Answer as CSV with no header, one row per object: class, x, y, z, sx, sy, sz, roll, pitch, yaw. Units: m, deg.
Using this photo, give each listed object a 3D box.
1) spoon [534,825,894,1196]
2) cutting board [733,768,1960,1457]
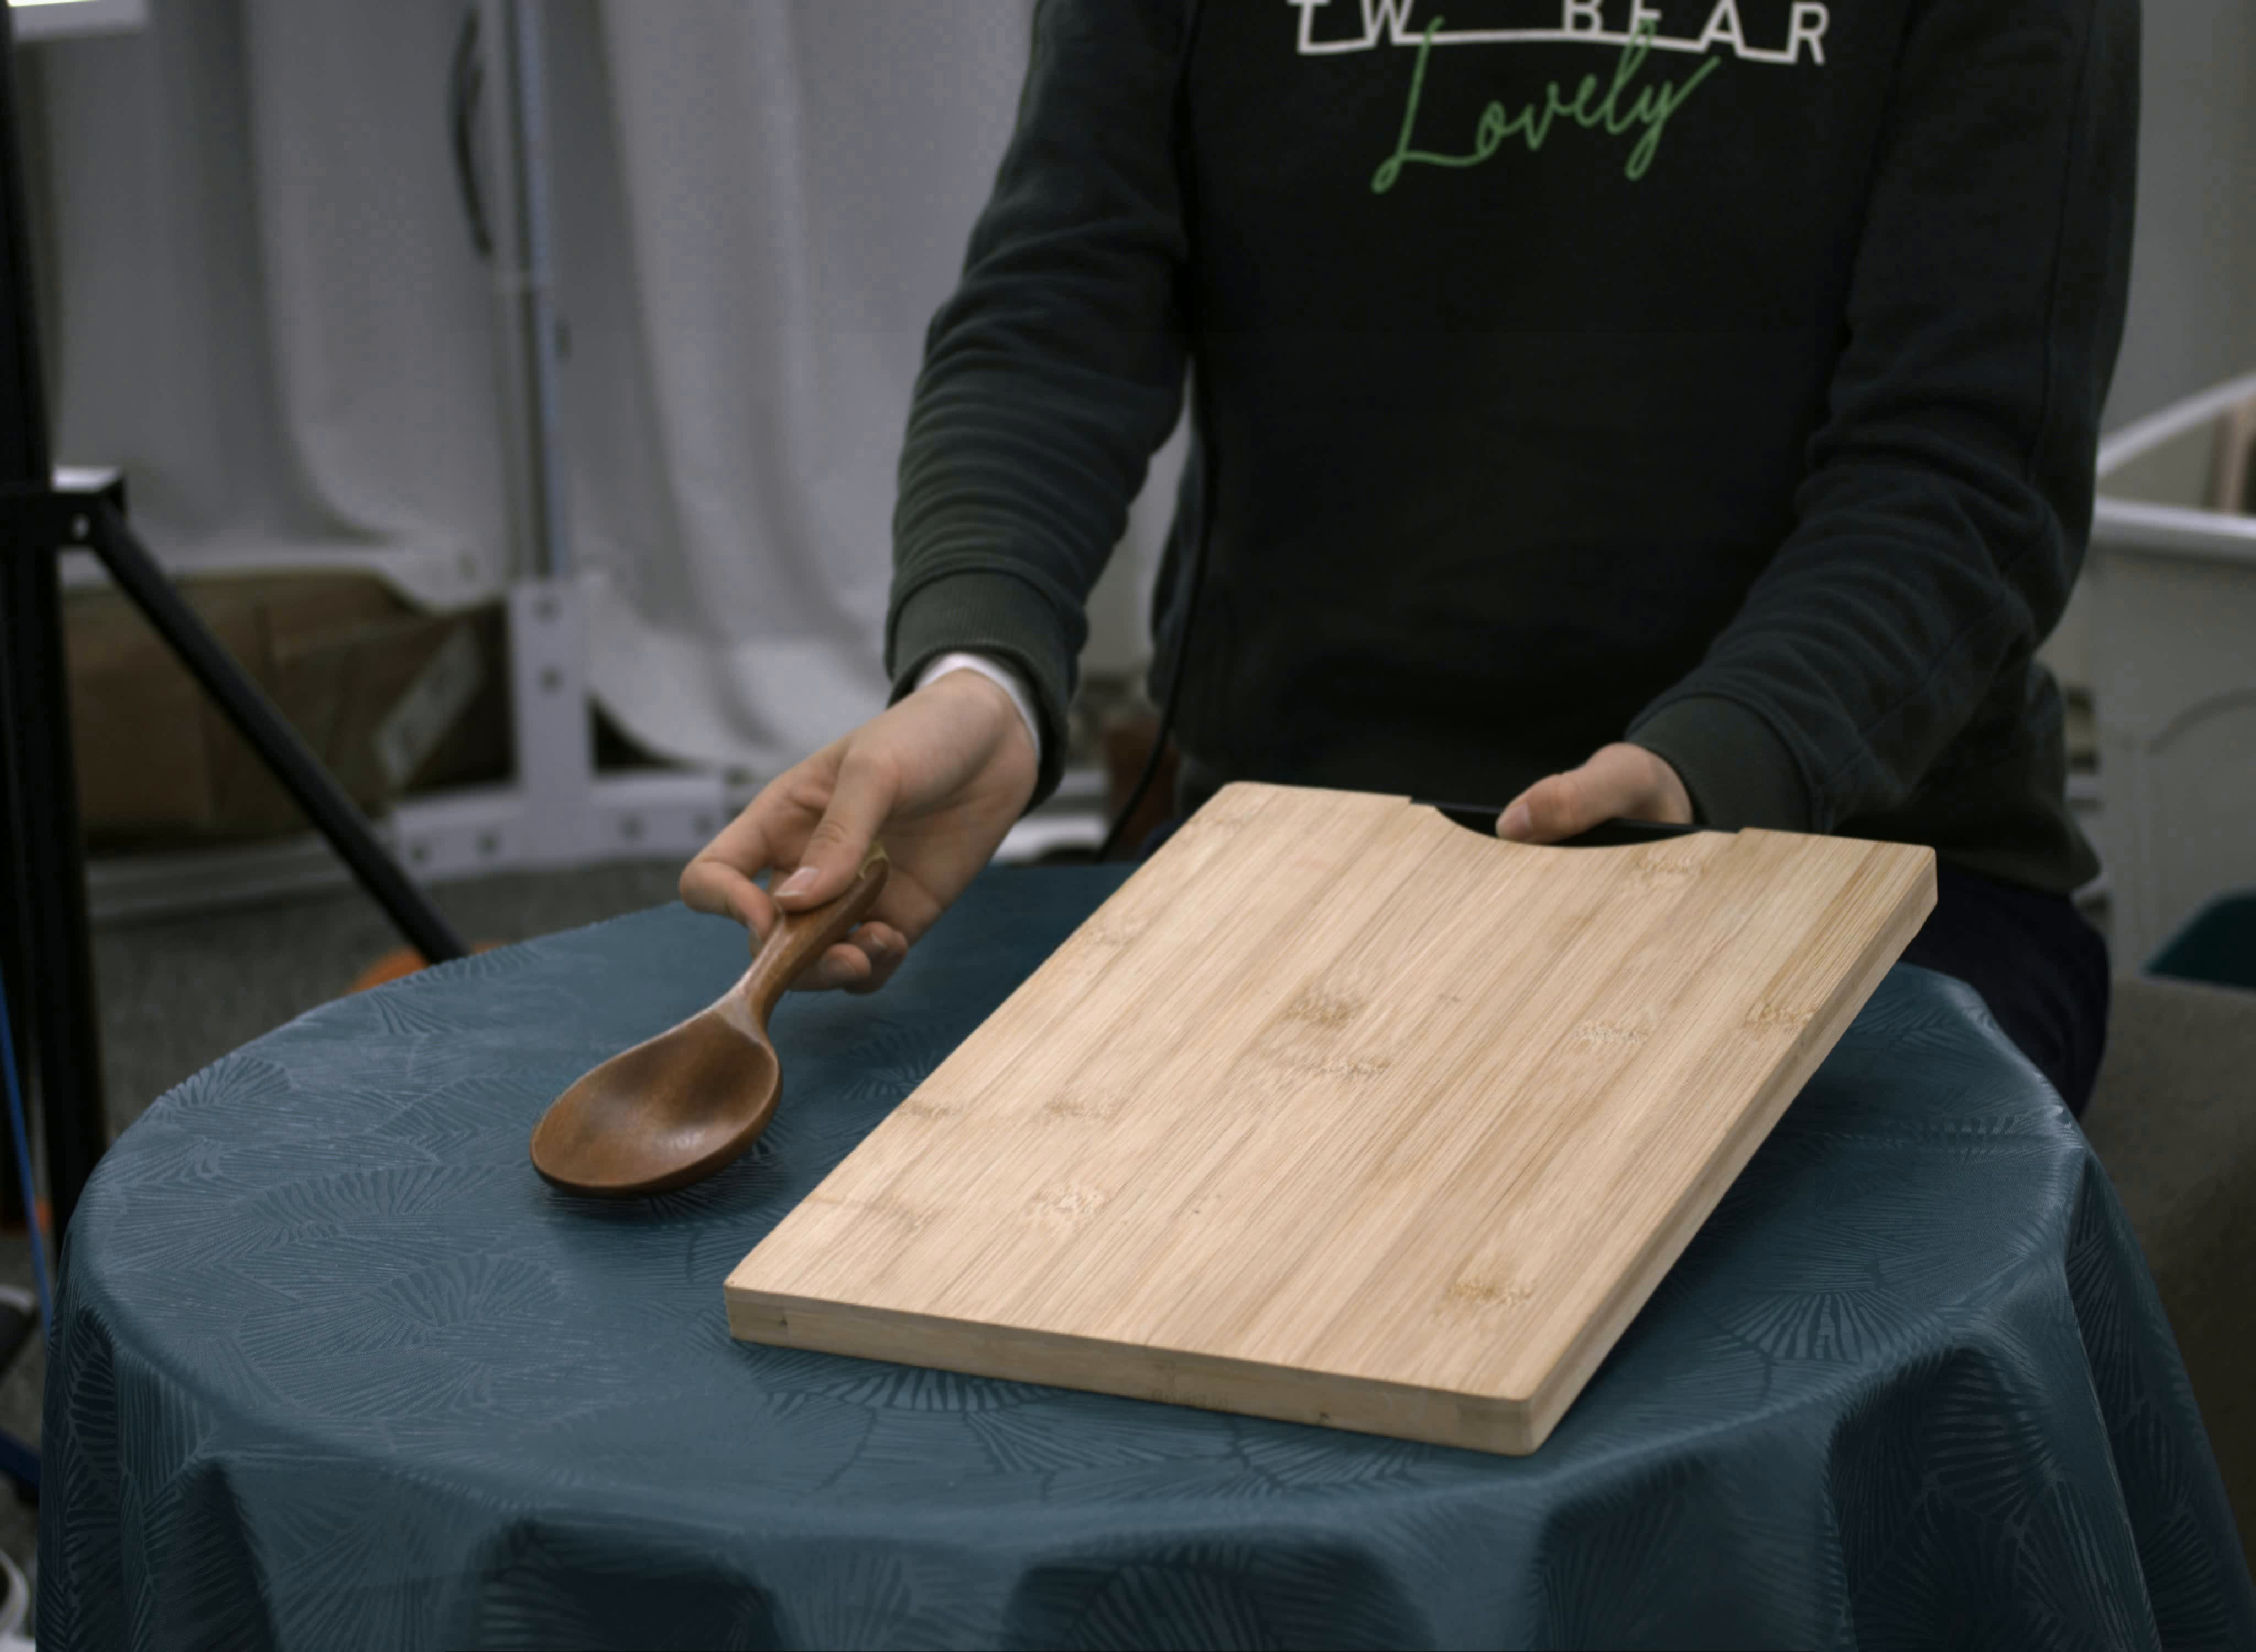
spoon,-0.118,0.057,1.640,0.076,0.017,0.214,-4,28,23
cutting board,0.072,0.072,1.539,0.254,0.023,0.344,5,27,26
